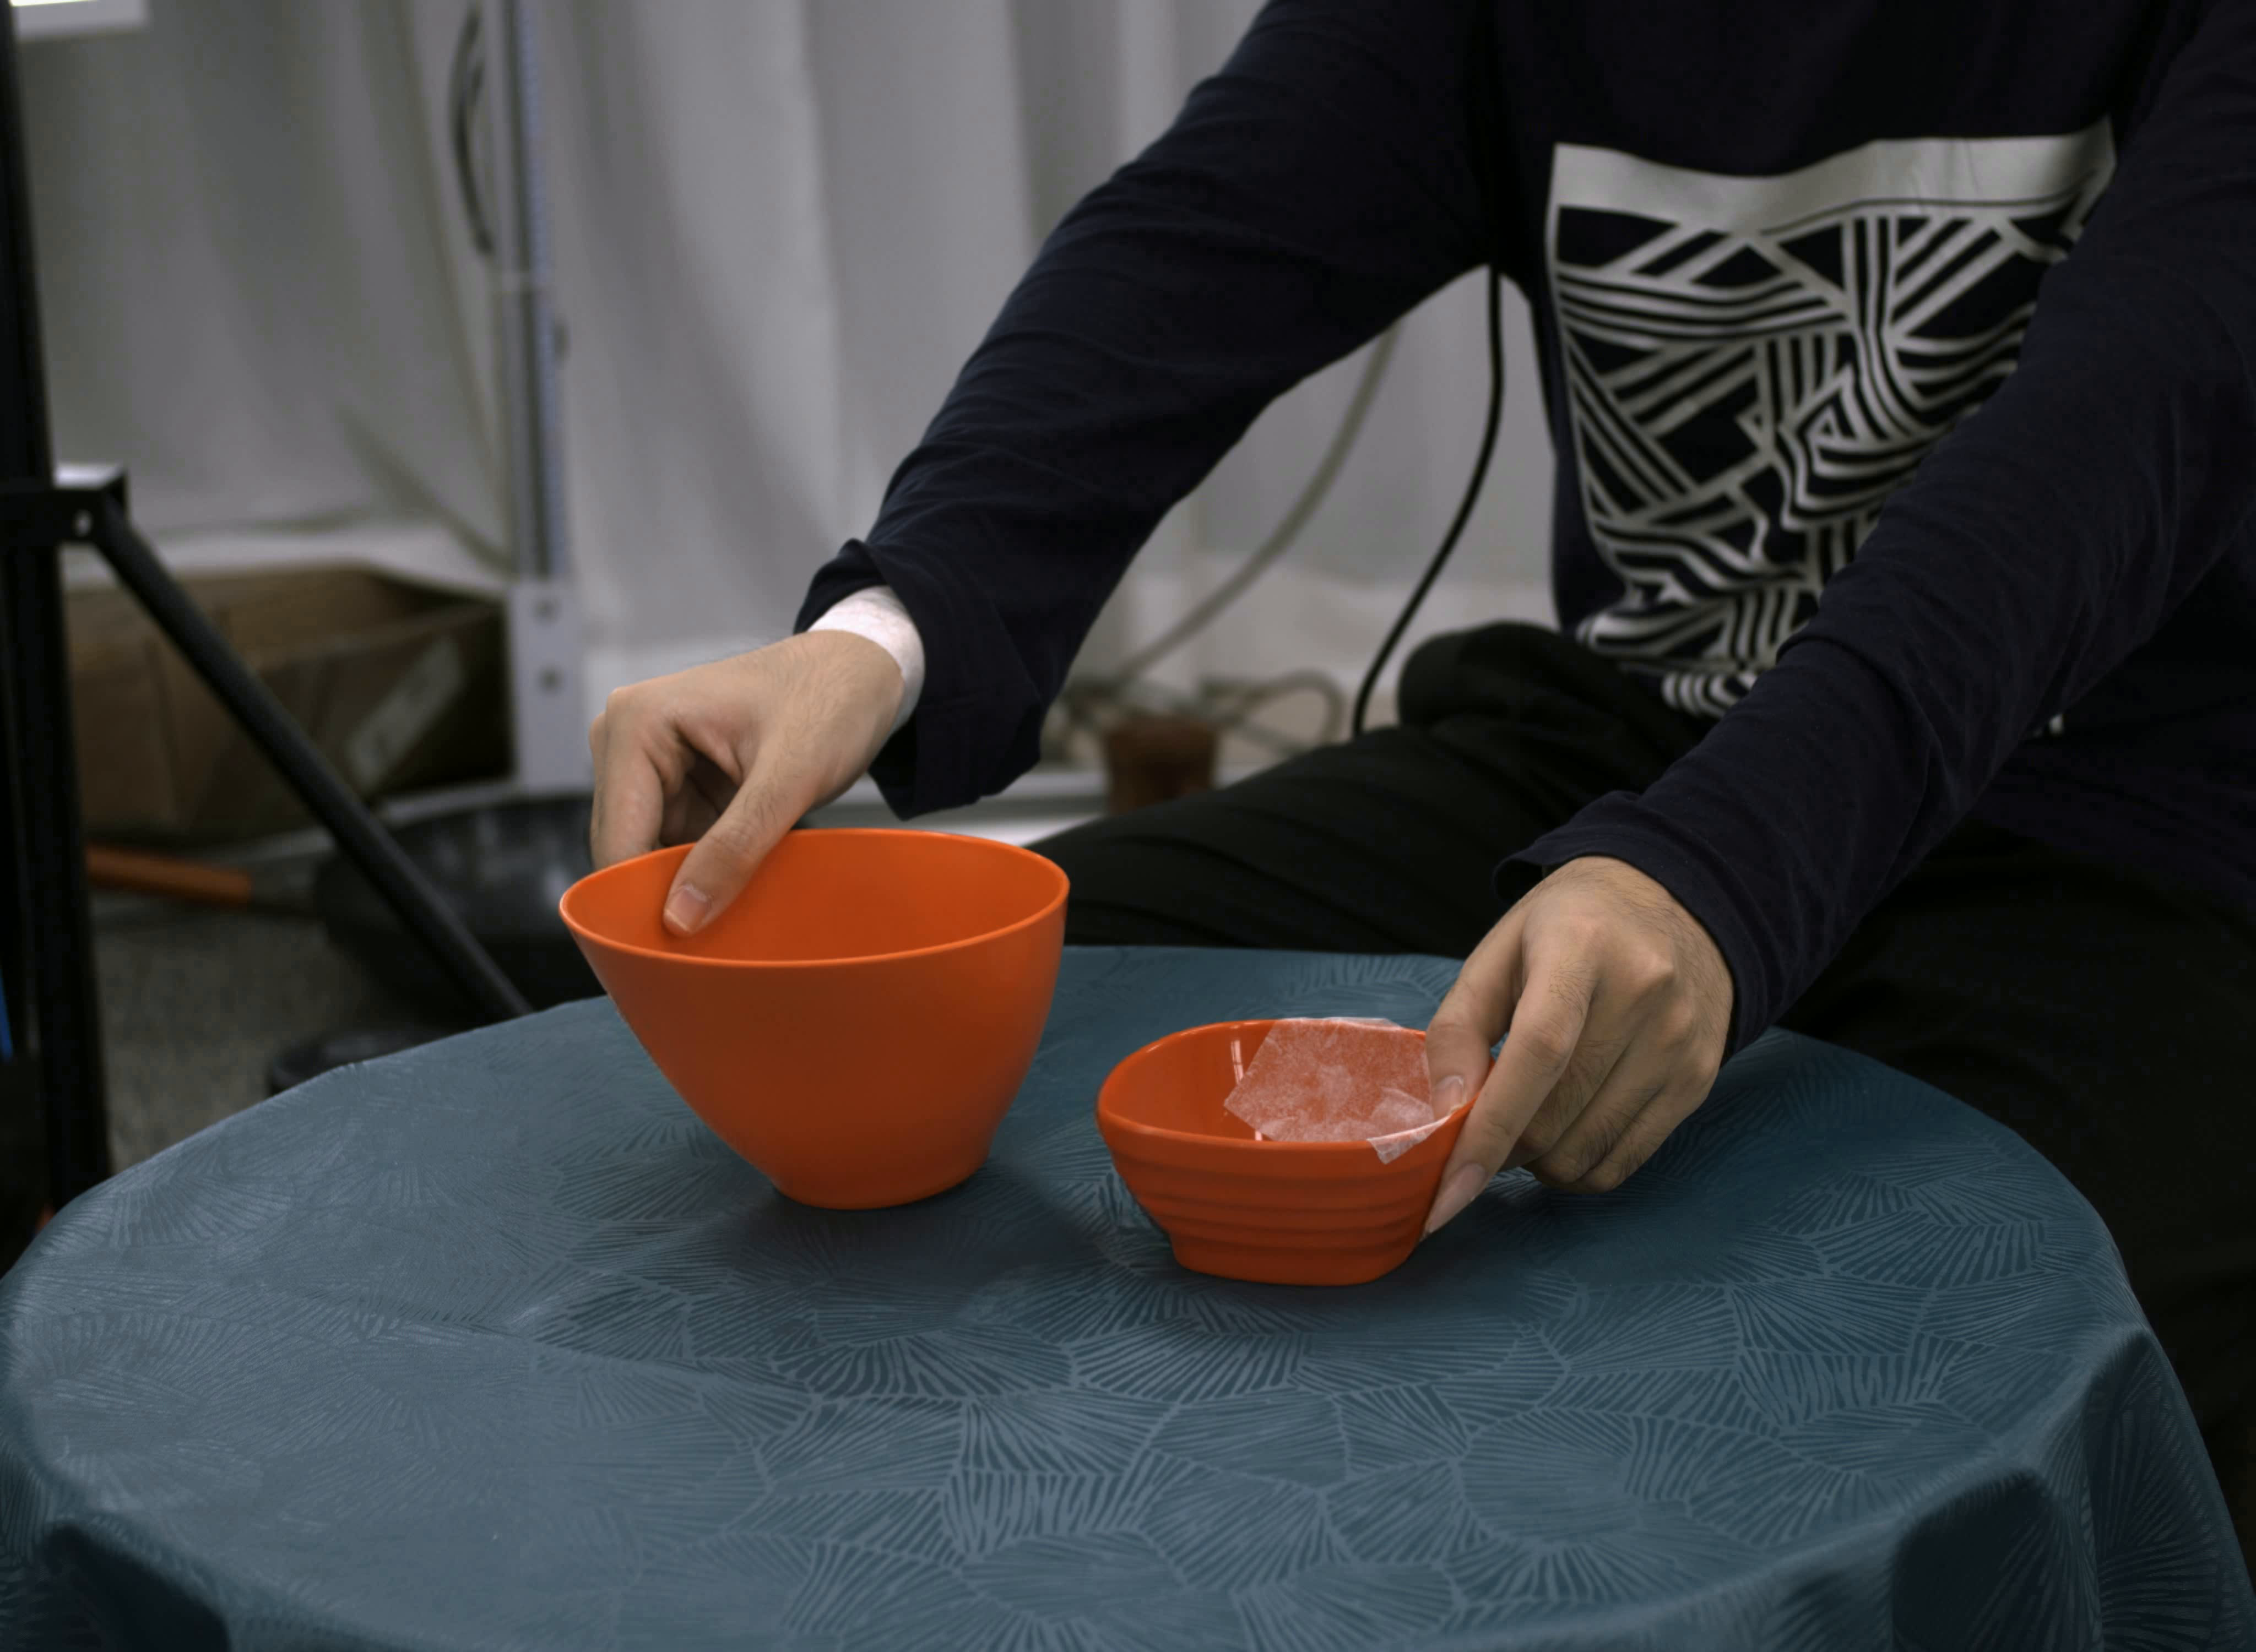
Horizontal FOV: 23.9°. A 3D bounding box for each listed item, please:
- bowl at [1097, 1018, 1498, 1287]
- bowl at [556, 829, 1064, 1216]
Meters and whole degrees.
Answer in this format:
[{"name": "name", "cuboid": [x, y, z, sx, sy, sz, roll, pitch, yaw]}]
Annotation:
[{"name": "bowl", "cuboid": [0.050, 0.095, 1.506, 0.118, 0.051, 0.119, -4, 15, 0]}, {"name": "bowl", "cuboid": [-0.087, 0.058, 1.561, 0.147, 0.104, 0.149, -8, 21, 2]}]
